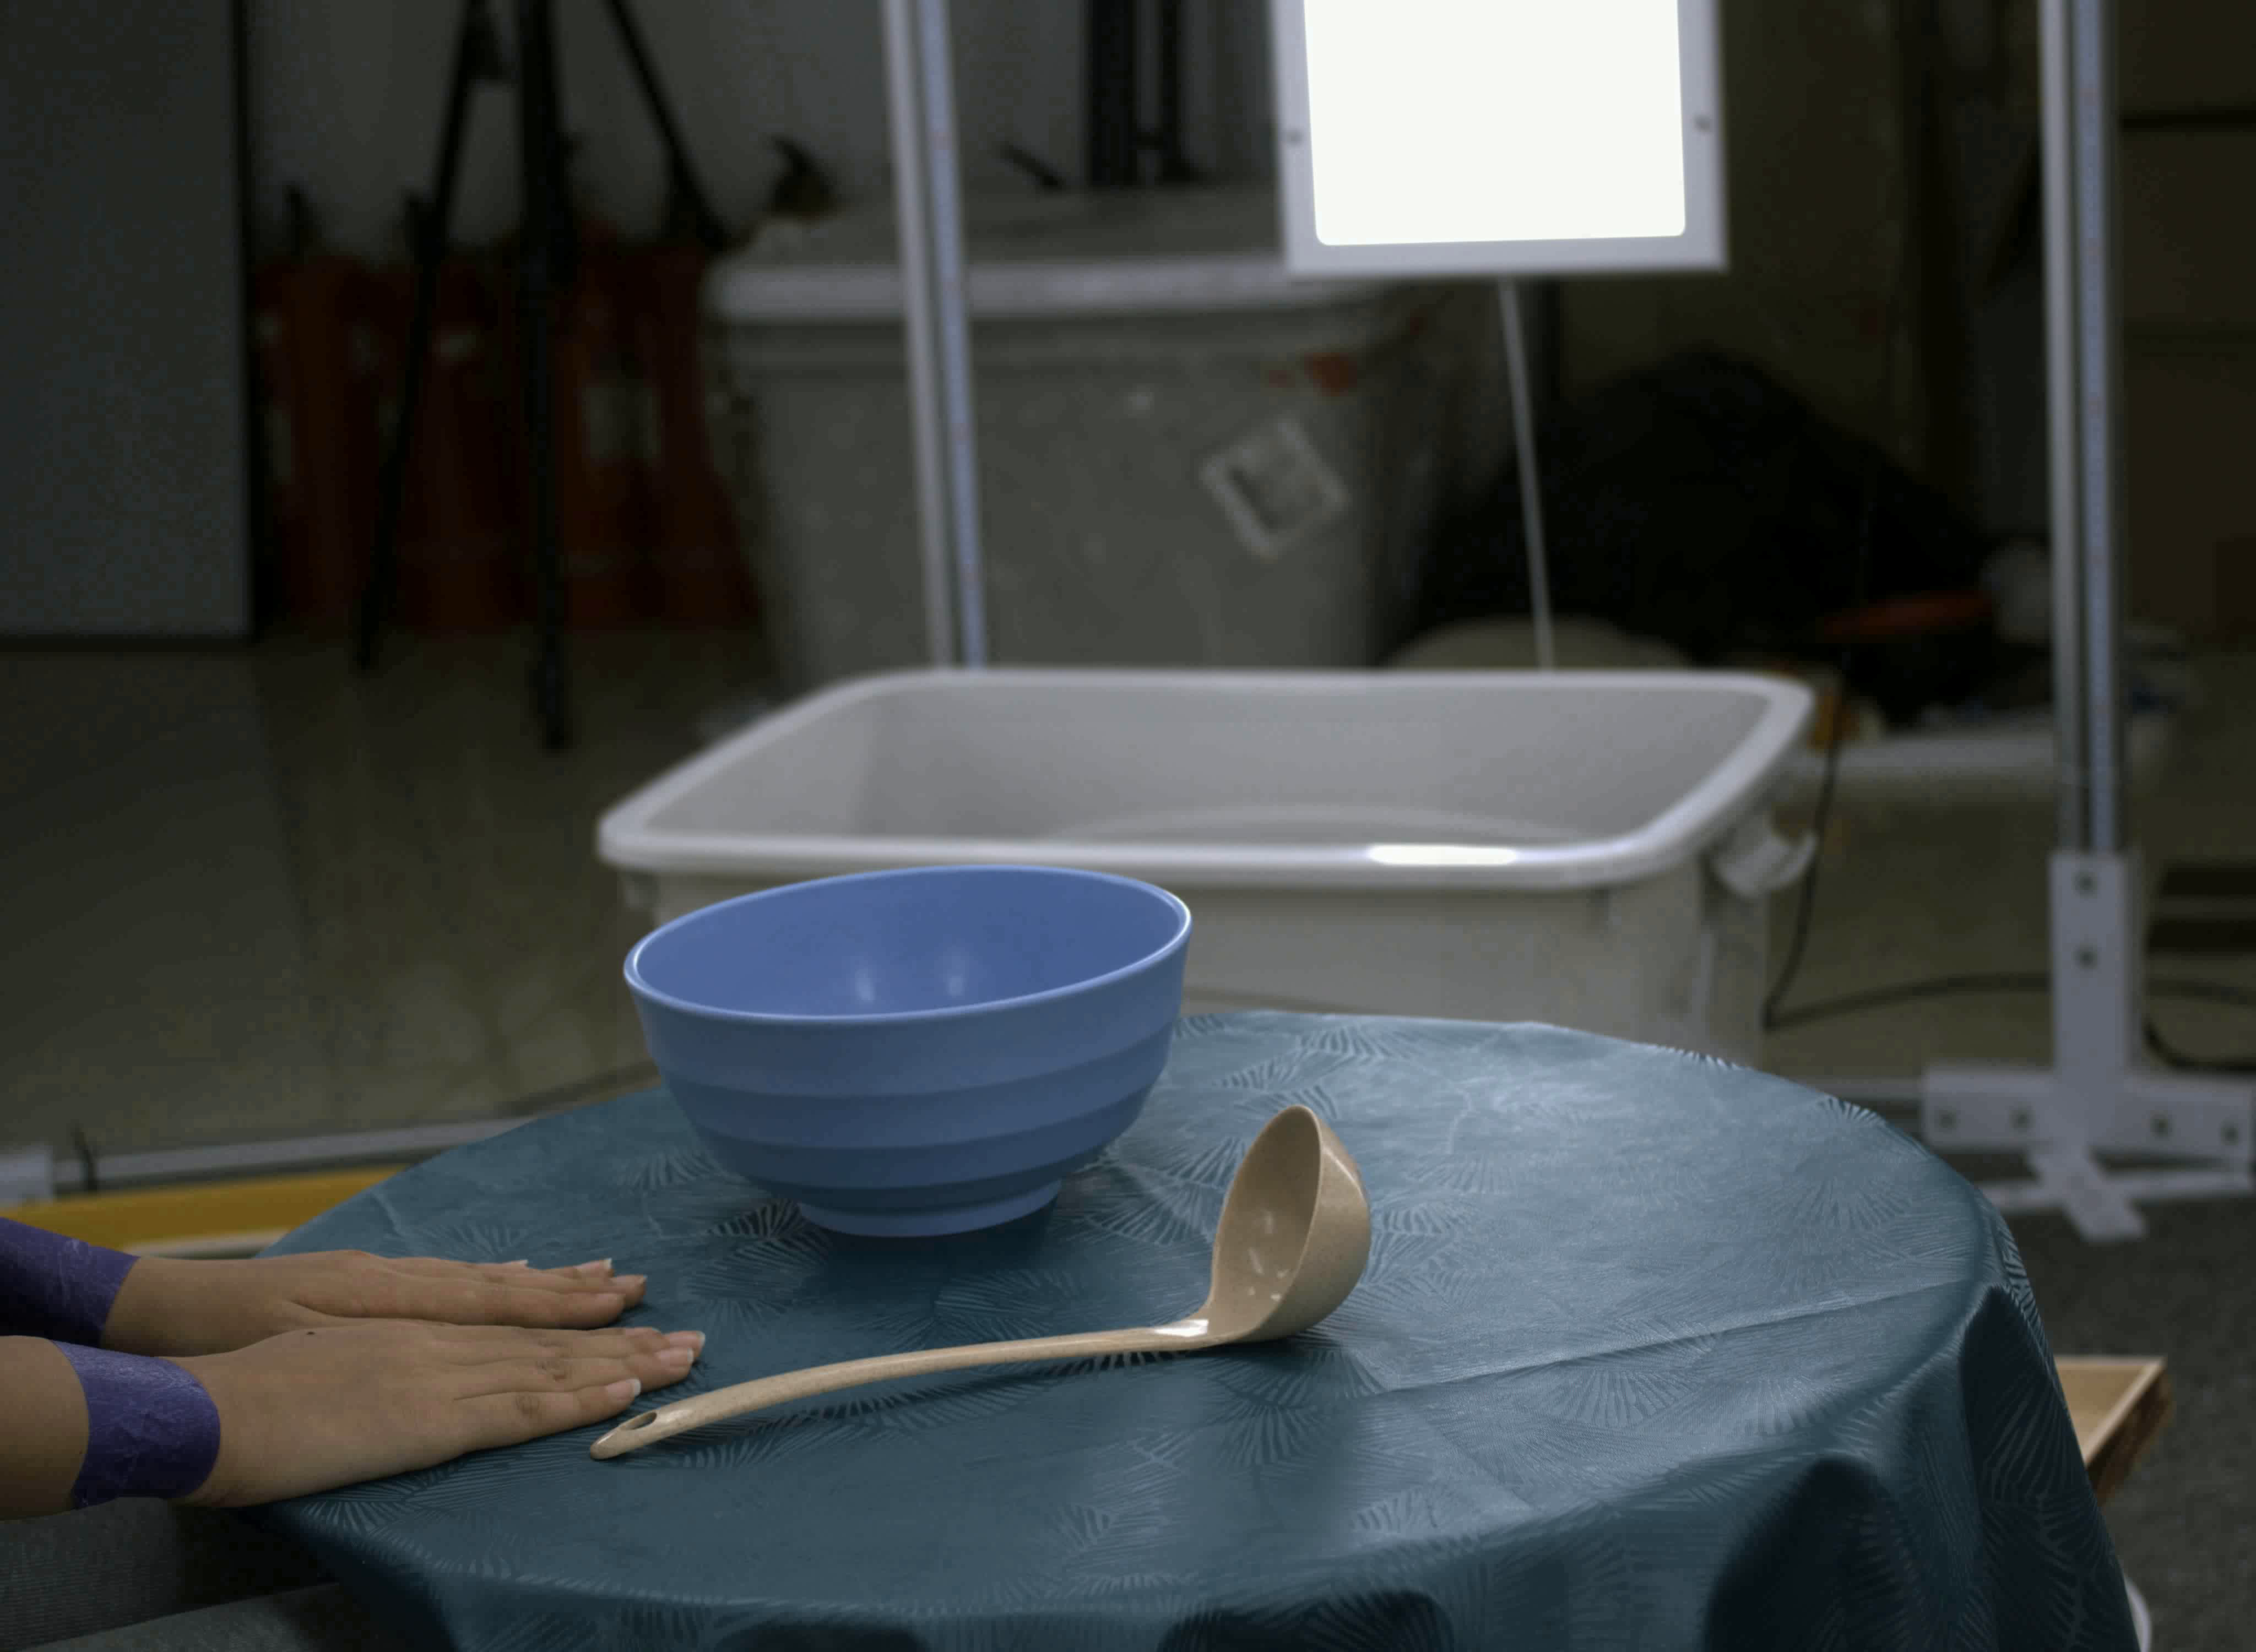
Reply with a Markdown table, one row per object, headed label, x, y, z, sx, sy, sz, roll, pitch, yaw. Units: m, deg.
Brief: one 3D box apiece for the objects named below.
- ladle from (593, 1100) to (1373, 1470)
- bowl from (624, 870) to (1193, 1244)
| label | x | y | z | sx | sy | sz | roll | pitch | yaw |
| --- | --- | --- | --- | --- | --- | --- | --- | --- | --- |
| ladle | -0.047 | 0.140 | 1.708 | 0.250 | 0.073 | 0.073 | -9 | 13 | -16 |
| bowl | -0.073 | 0.085 | 1.902 | 0.196 | 0.096 | 0.196 | -4 | 14 | 0 |
